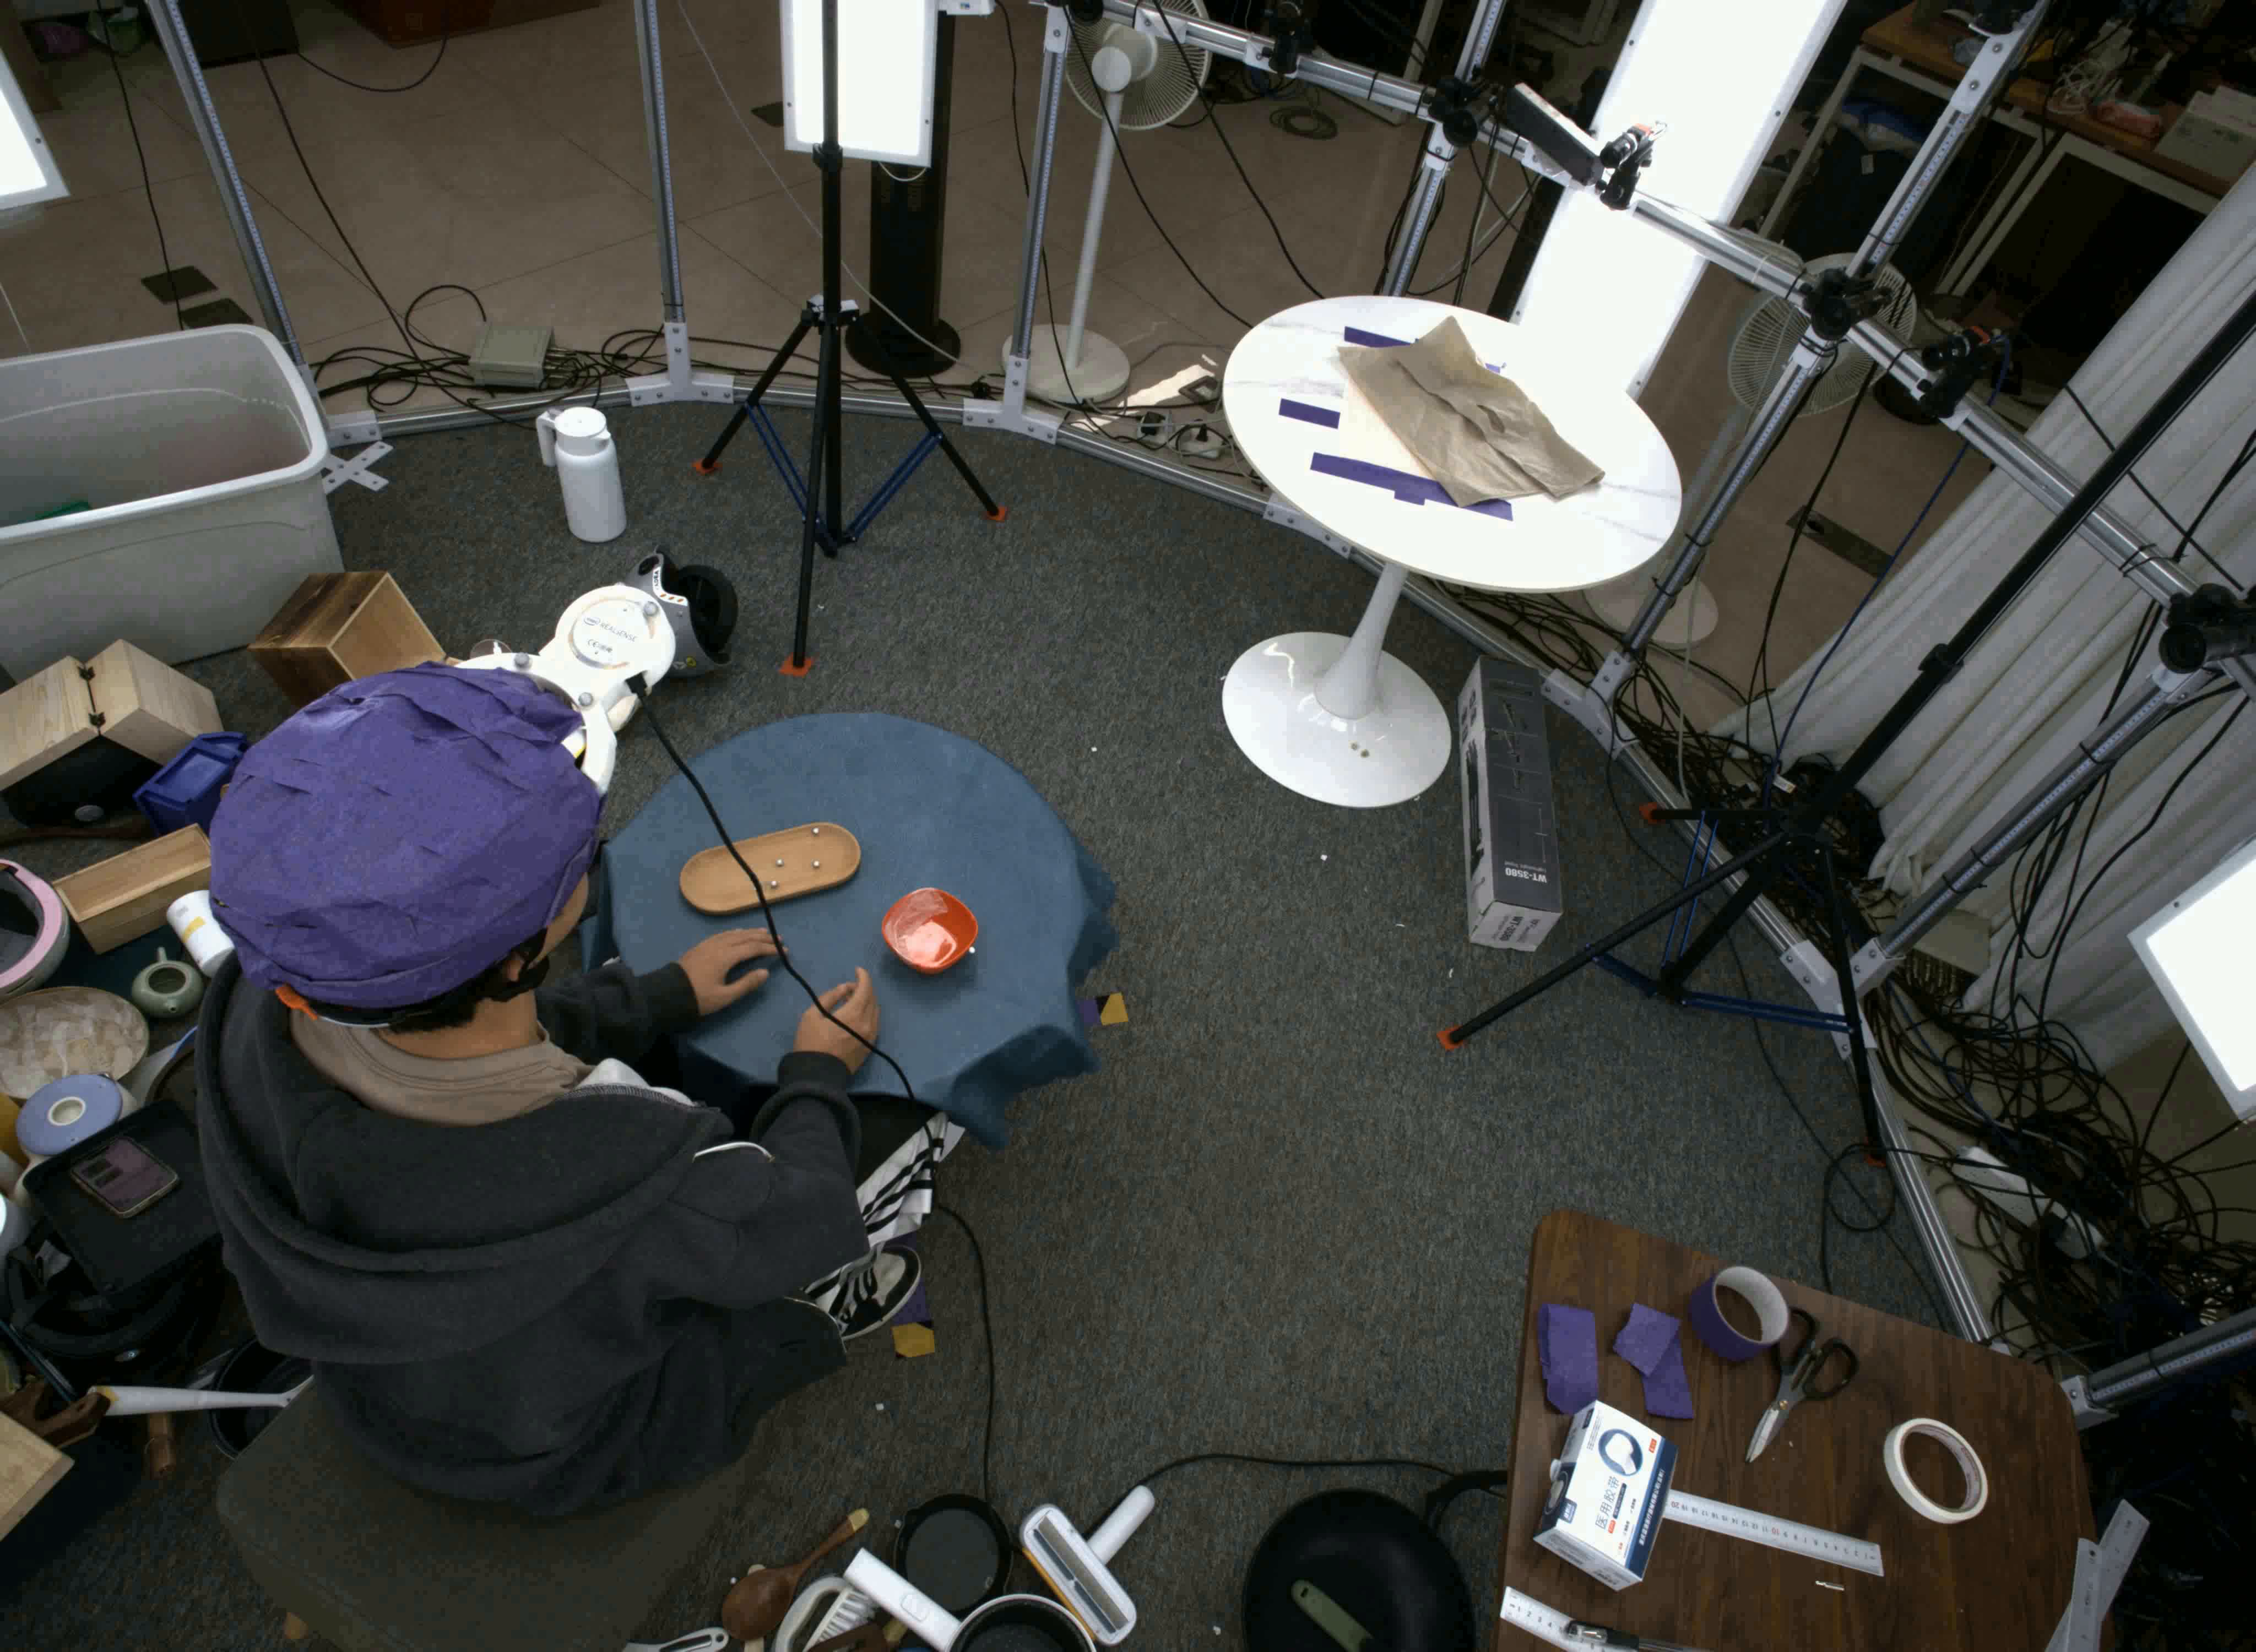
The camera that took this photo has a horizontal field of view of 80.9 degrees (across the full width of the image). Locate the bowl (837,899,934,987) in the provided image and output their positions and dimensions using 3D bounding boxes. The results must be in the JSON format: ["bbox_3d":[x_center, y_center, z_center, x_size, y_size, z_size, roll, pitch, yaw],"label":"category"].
[{"bbox_3d":[-0.301,0.152,1.613,0.119,0.052,0.117,8,52,-9],"label":"bowl"}]

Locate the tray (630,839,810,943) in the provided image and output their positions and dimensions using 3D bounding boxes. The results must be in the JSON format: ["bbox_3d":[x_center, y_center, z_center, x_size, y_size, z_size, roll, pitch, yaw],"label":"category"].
[{"bbox_3d":[-0.515,0.080,1.635,0.232,0.021,0.099,-21,60,-26],"label":"tray"}]
